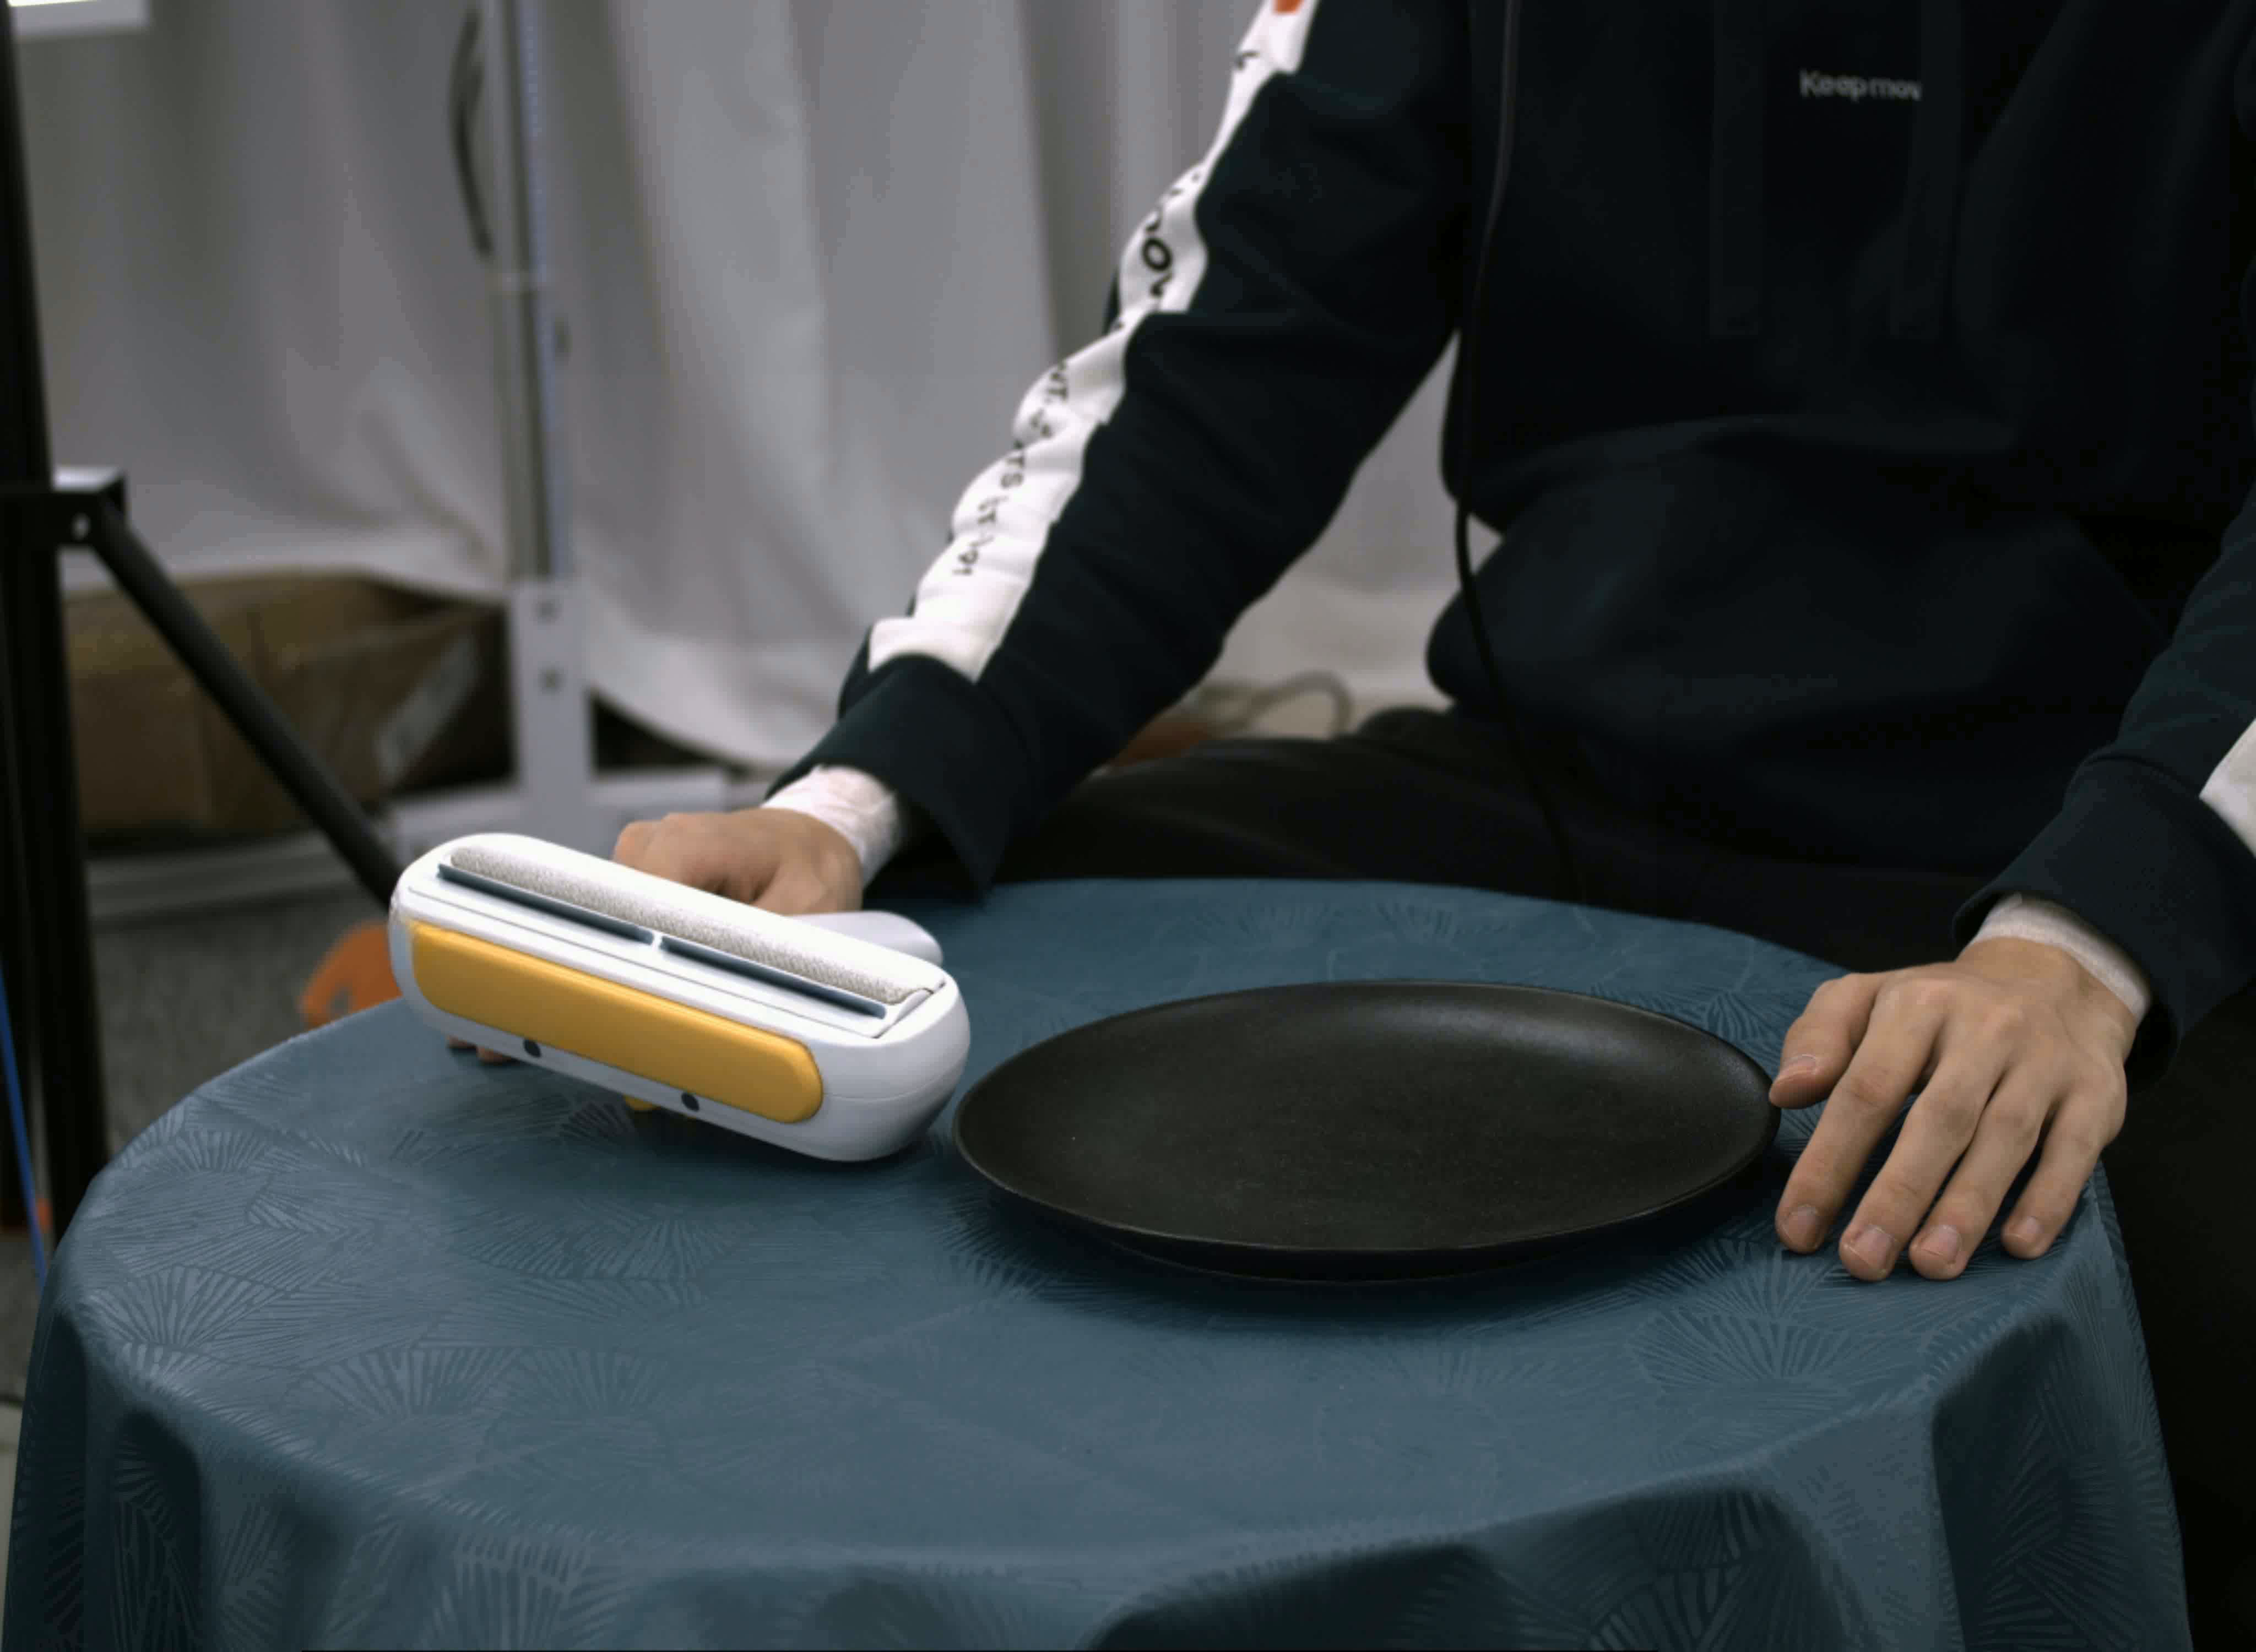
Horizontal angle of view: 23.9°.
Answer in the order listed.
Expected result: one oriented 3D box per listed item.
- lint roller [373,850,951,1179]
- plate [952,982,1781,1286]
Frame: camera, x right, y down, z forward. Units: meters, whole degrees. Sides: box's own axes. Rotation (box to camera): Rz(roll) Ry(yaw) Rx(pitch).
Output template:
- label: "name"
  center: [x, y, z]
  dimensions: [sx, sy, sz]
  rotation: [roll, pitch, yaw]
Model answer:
- label: "lint roller"
  center: [-0.117, 0.063, 1.684]
  dimensions: [0.196, 0.074, 0.188]
  rotation: [16, 8, 32]
- label: "plate"
  center: [0.070, 0.093, 1.558]
  dimensions: [0.243, 0.023, 0.245]
  rotation: [-3, 16, 0]
